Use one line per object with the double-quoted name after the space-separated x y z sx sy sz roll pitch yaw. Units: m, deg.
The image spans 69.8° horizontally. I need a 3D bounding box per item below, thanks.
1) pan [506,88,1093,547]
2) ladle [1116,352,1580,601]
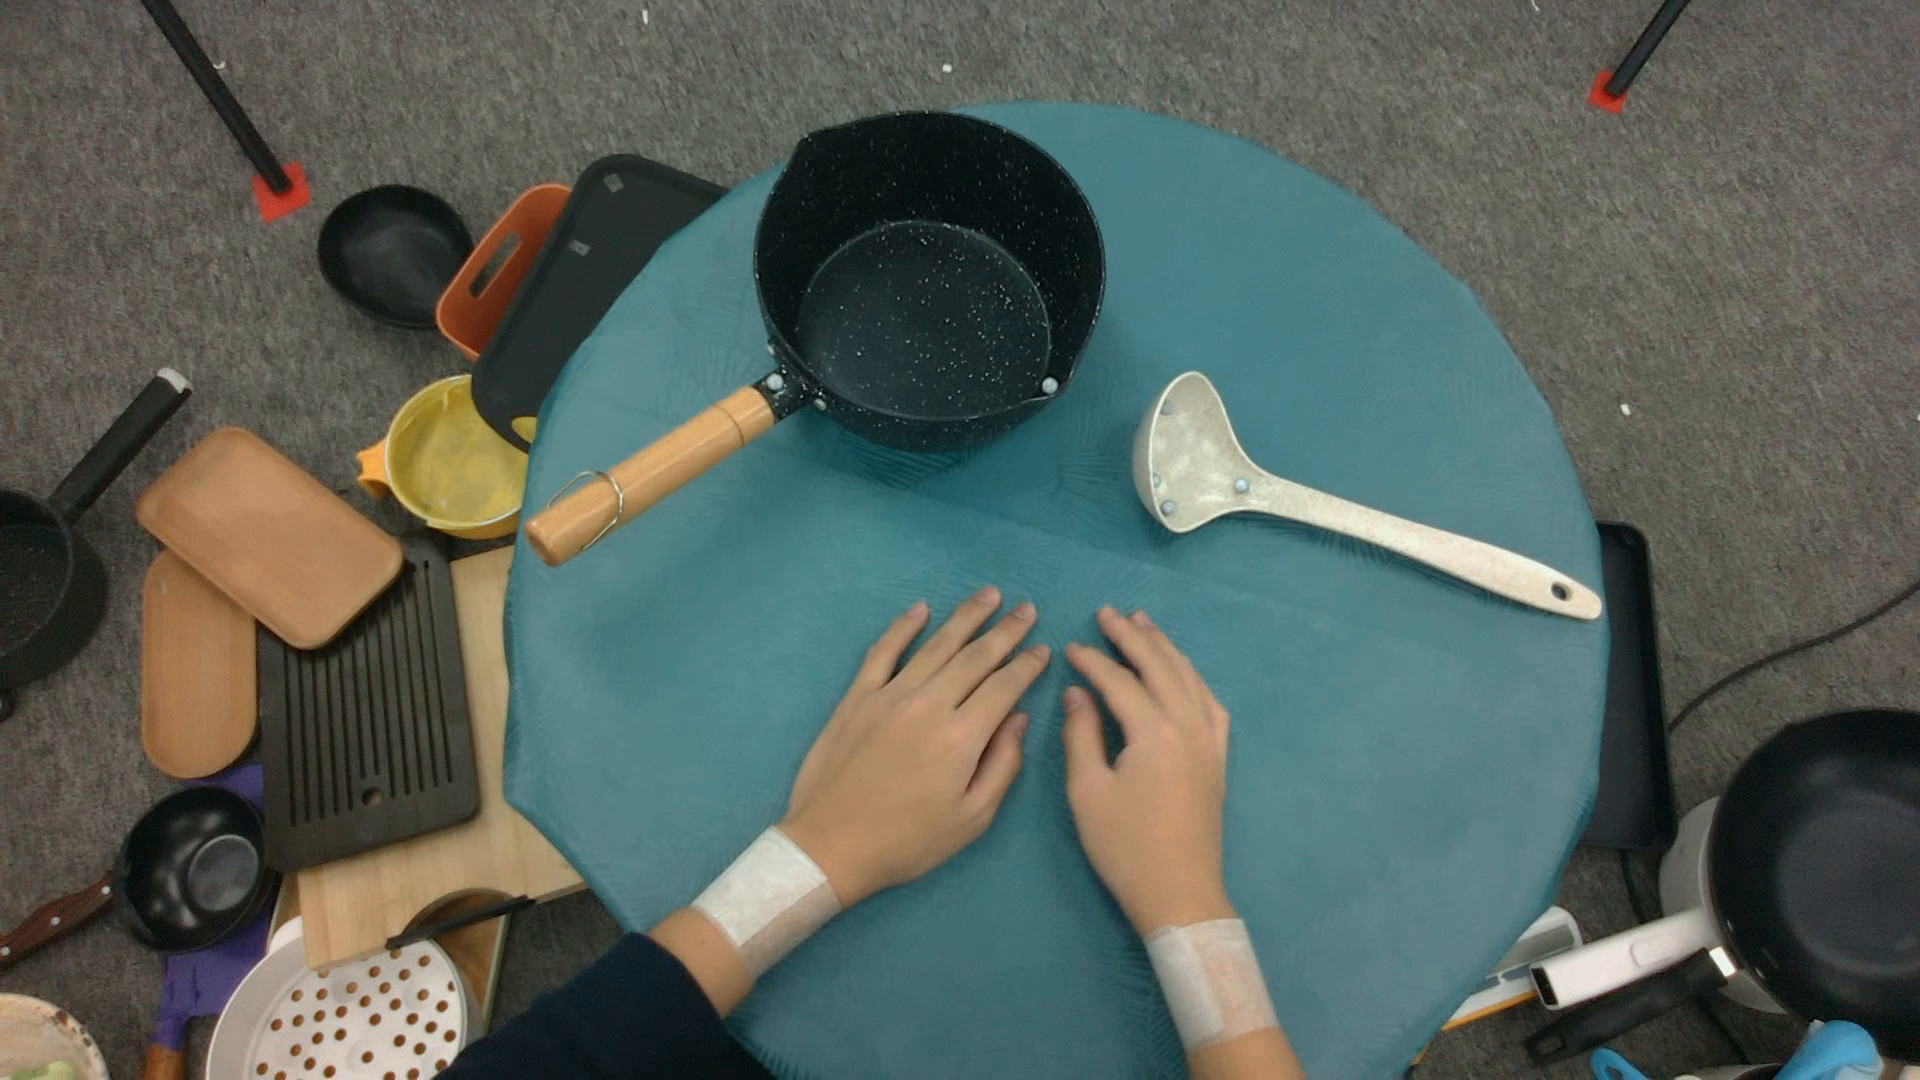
-0.081 -0.095 0.718 0.344 0.108 0.207 -42 80 -18 "pan"
0.217 -0.025 0.741 0.275 0.069 0.089 18 67 1 "ladle"
